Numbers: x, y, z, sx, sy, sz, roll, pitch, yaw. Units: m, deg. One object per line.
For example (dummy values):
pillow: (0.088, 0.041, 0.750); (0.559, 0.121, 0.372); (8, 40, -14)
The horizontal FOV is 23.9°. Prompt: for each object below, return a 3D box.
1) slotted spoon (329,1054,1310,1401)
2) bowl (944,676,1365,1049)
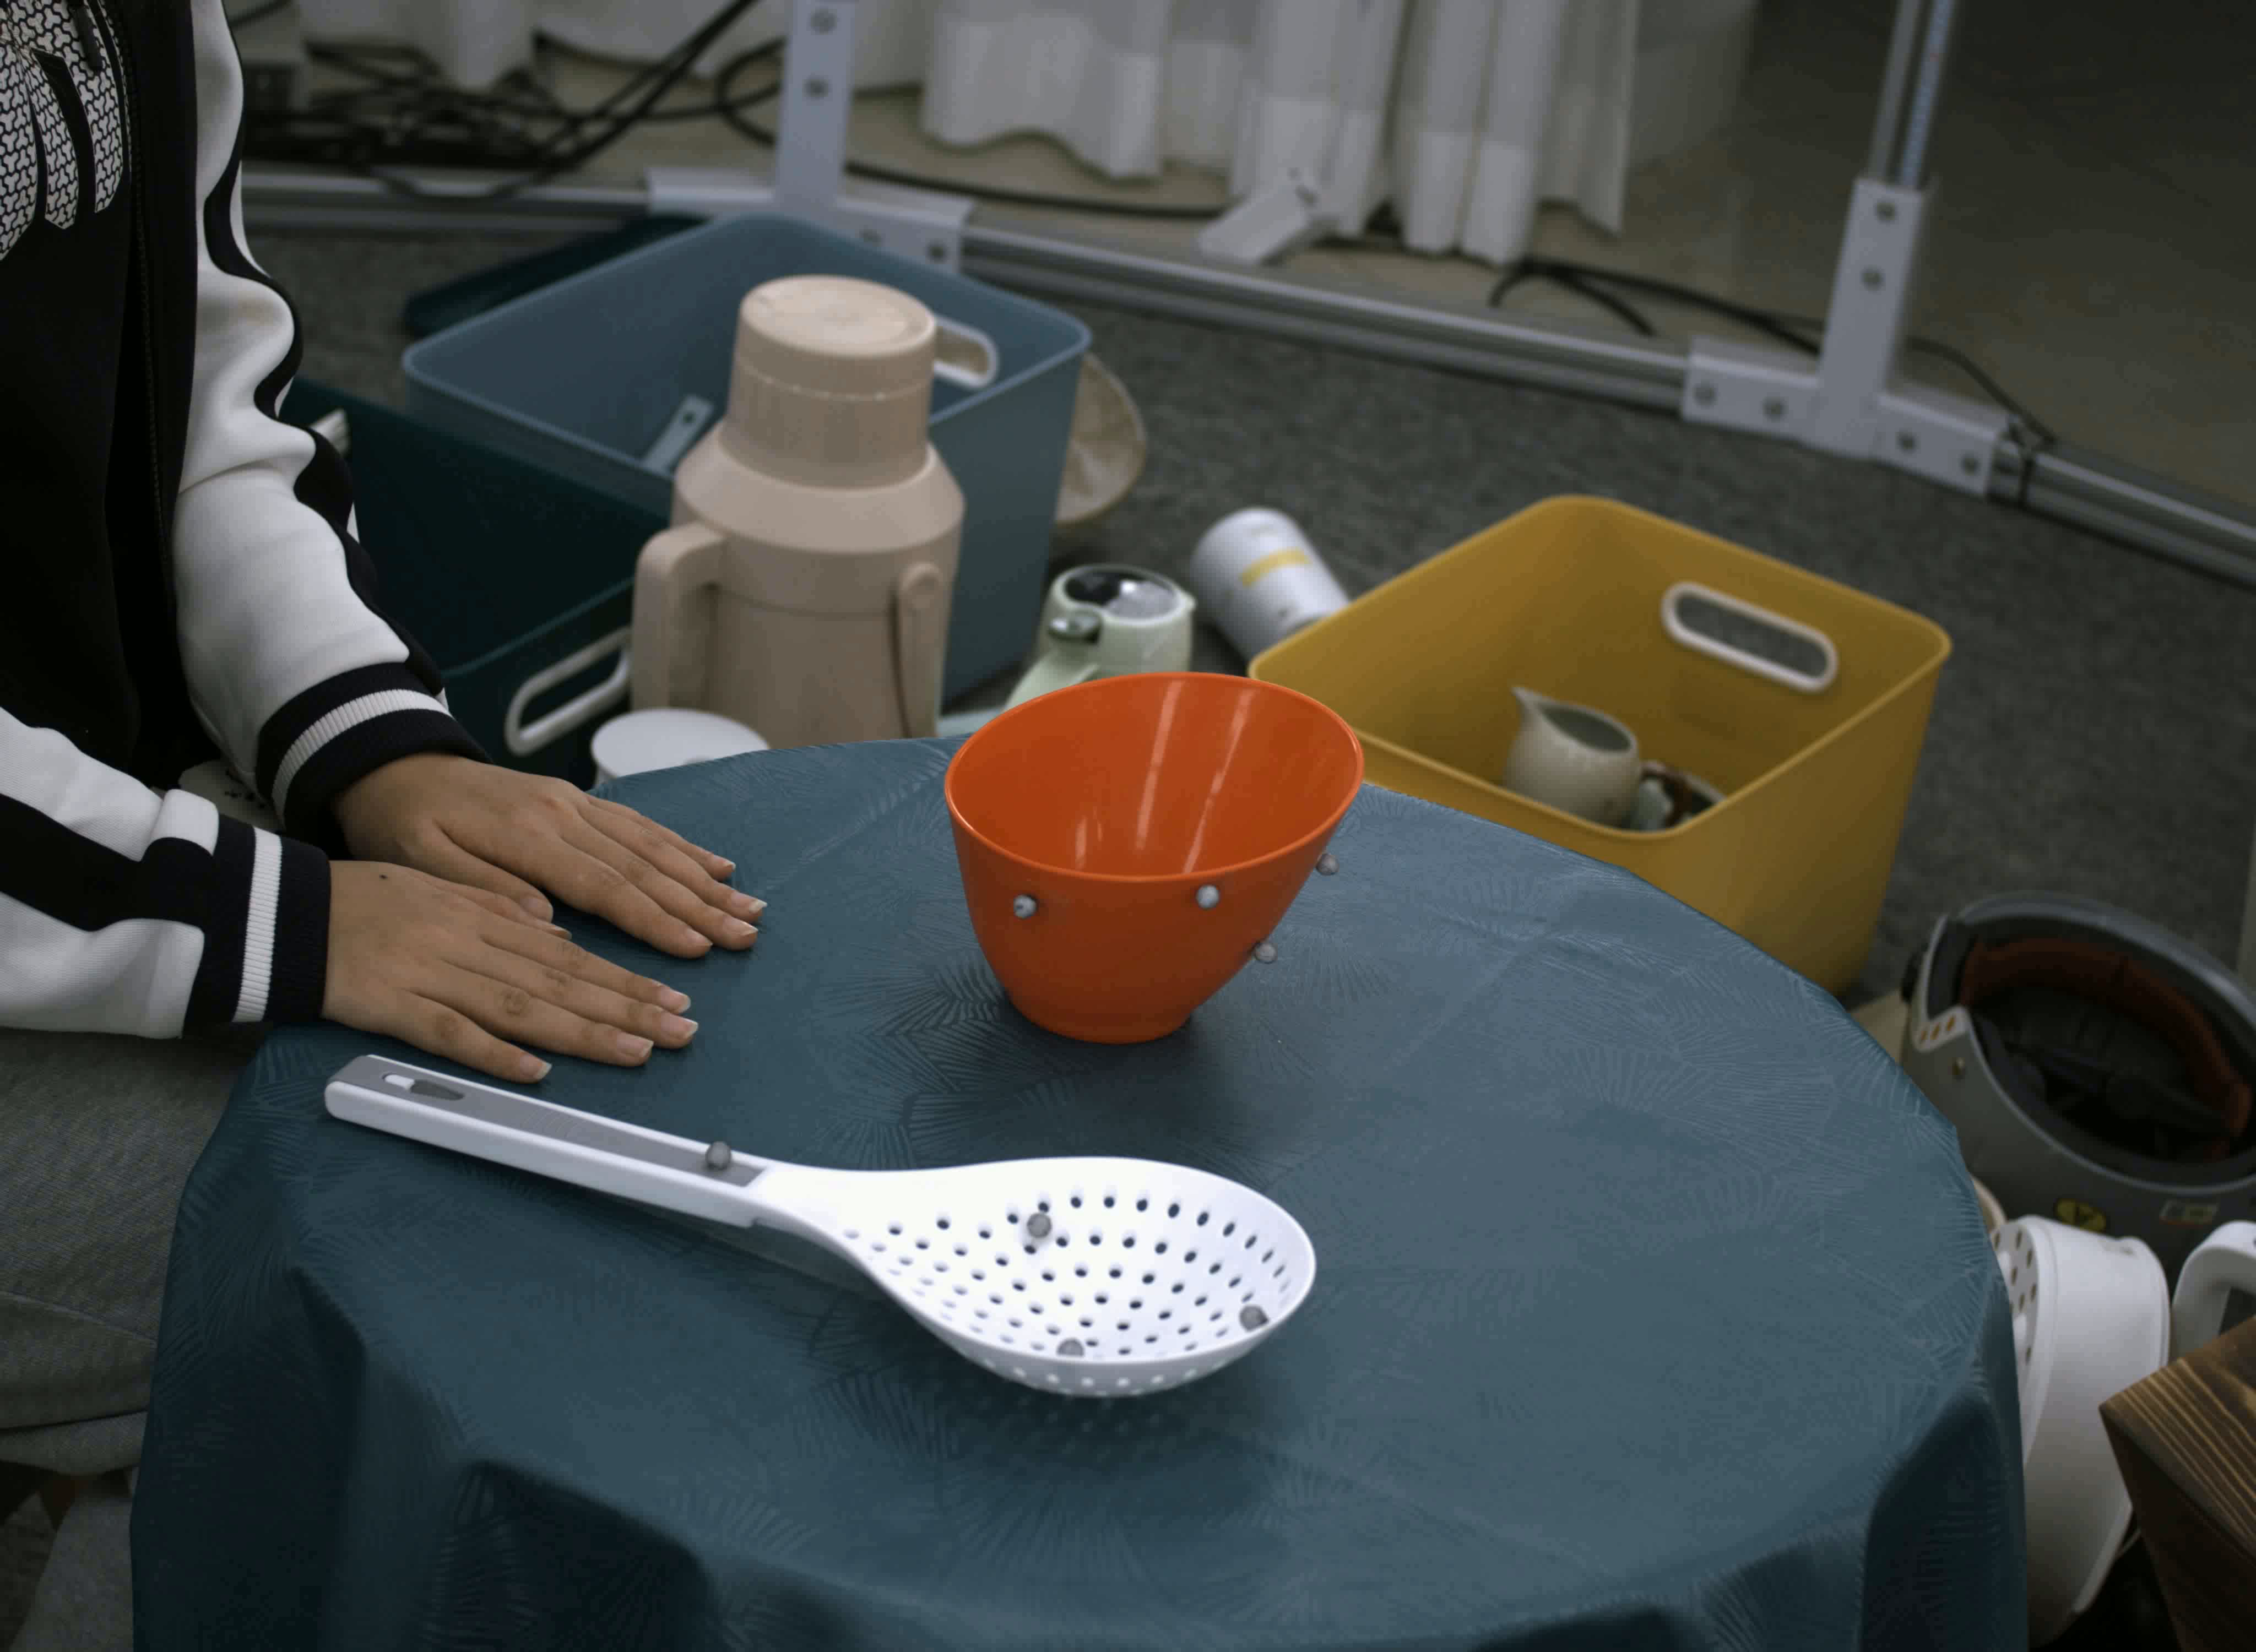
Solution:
slotted spoon: (-0.107, 0.122, 1.731); (0.351, 0.045, 0.136); (17, 27, 21)
bowl: (0.006, 0.019, 1.900); (0.147, 0.104, 0.149); (4, 28, -3)
